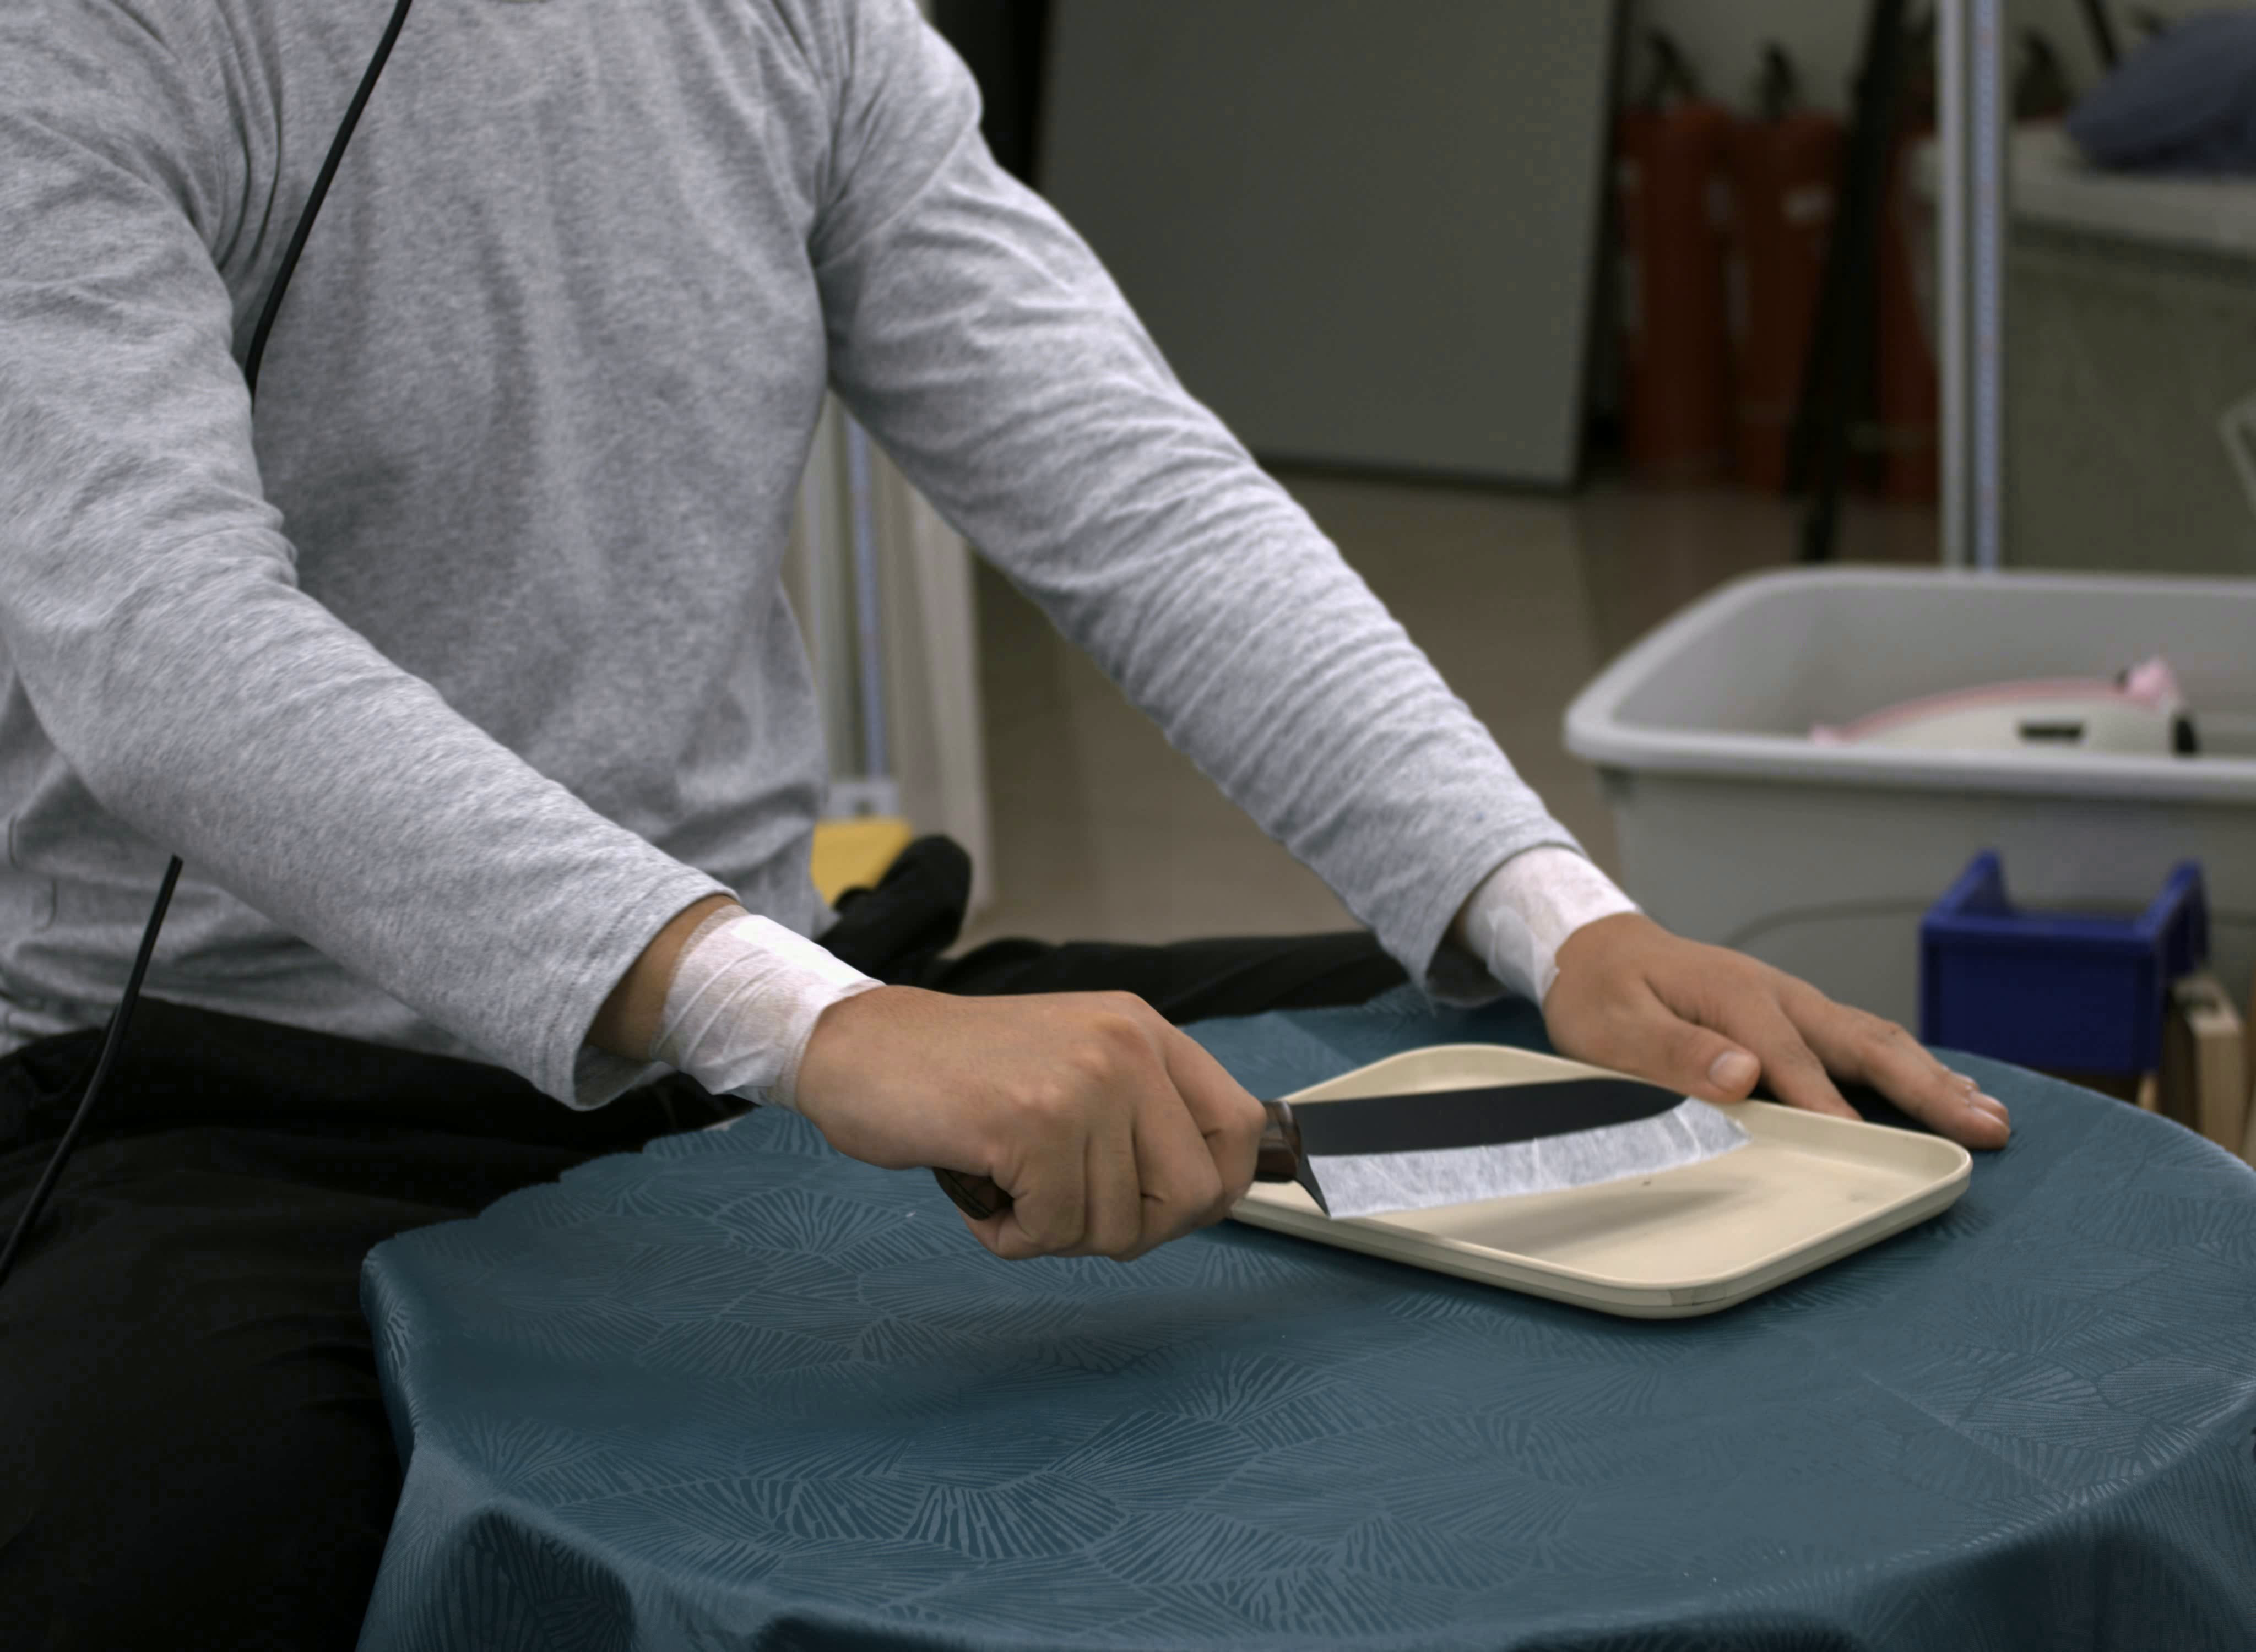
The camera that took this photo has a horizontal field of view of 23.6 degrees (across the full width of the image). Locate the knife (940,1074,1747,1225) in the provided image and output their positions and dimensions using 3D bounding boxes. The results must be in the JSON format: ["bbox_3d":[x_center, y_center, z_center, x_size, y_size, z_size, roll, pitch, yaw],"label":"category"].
[{"bbox_3d":[0.072,0.101,1.657,0.282,0.020,0.051,-1,51,-27],"label":"knife"}]

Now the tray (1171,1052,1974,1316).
[{"bbox_3d":[0.138,0.114,1.728,0.168,0.017,0.242,-16,17,-42],"label":"tray"}]
